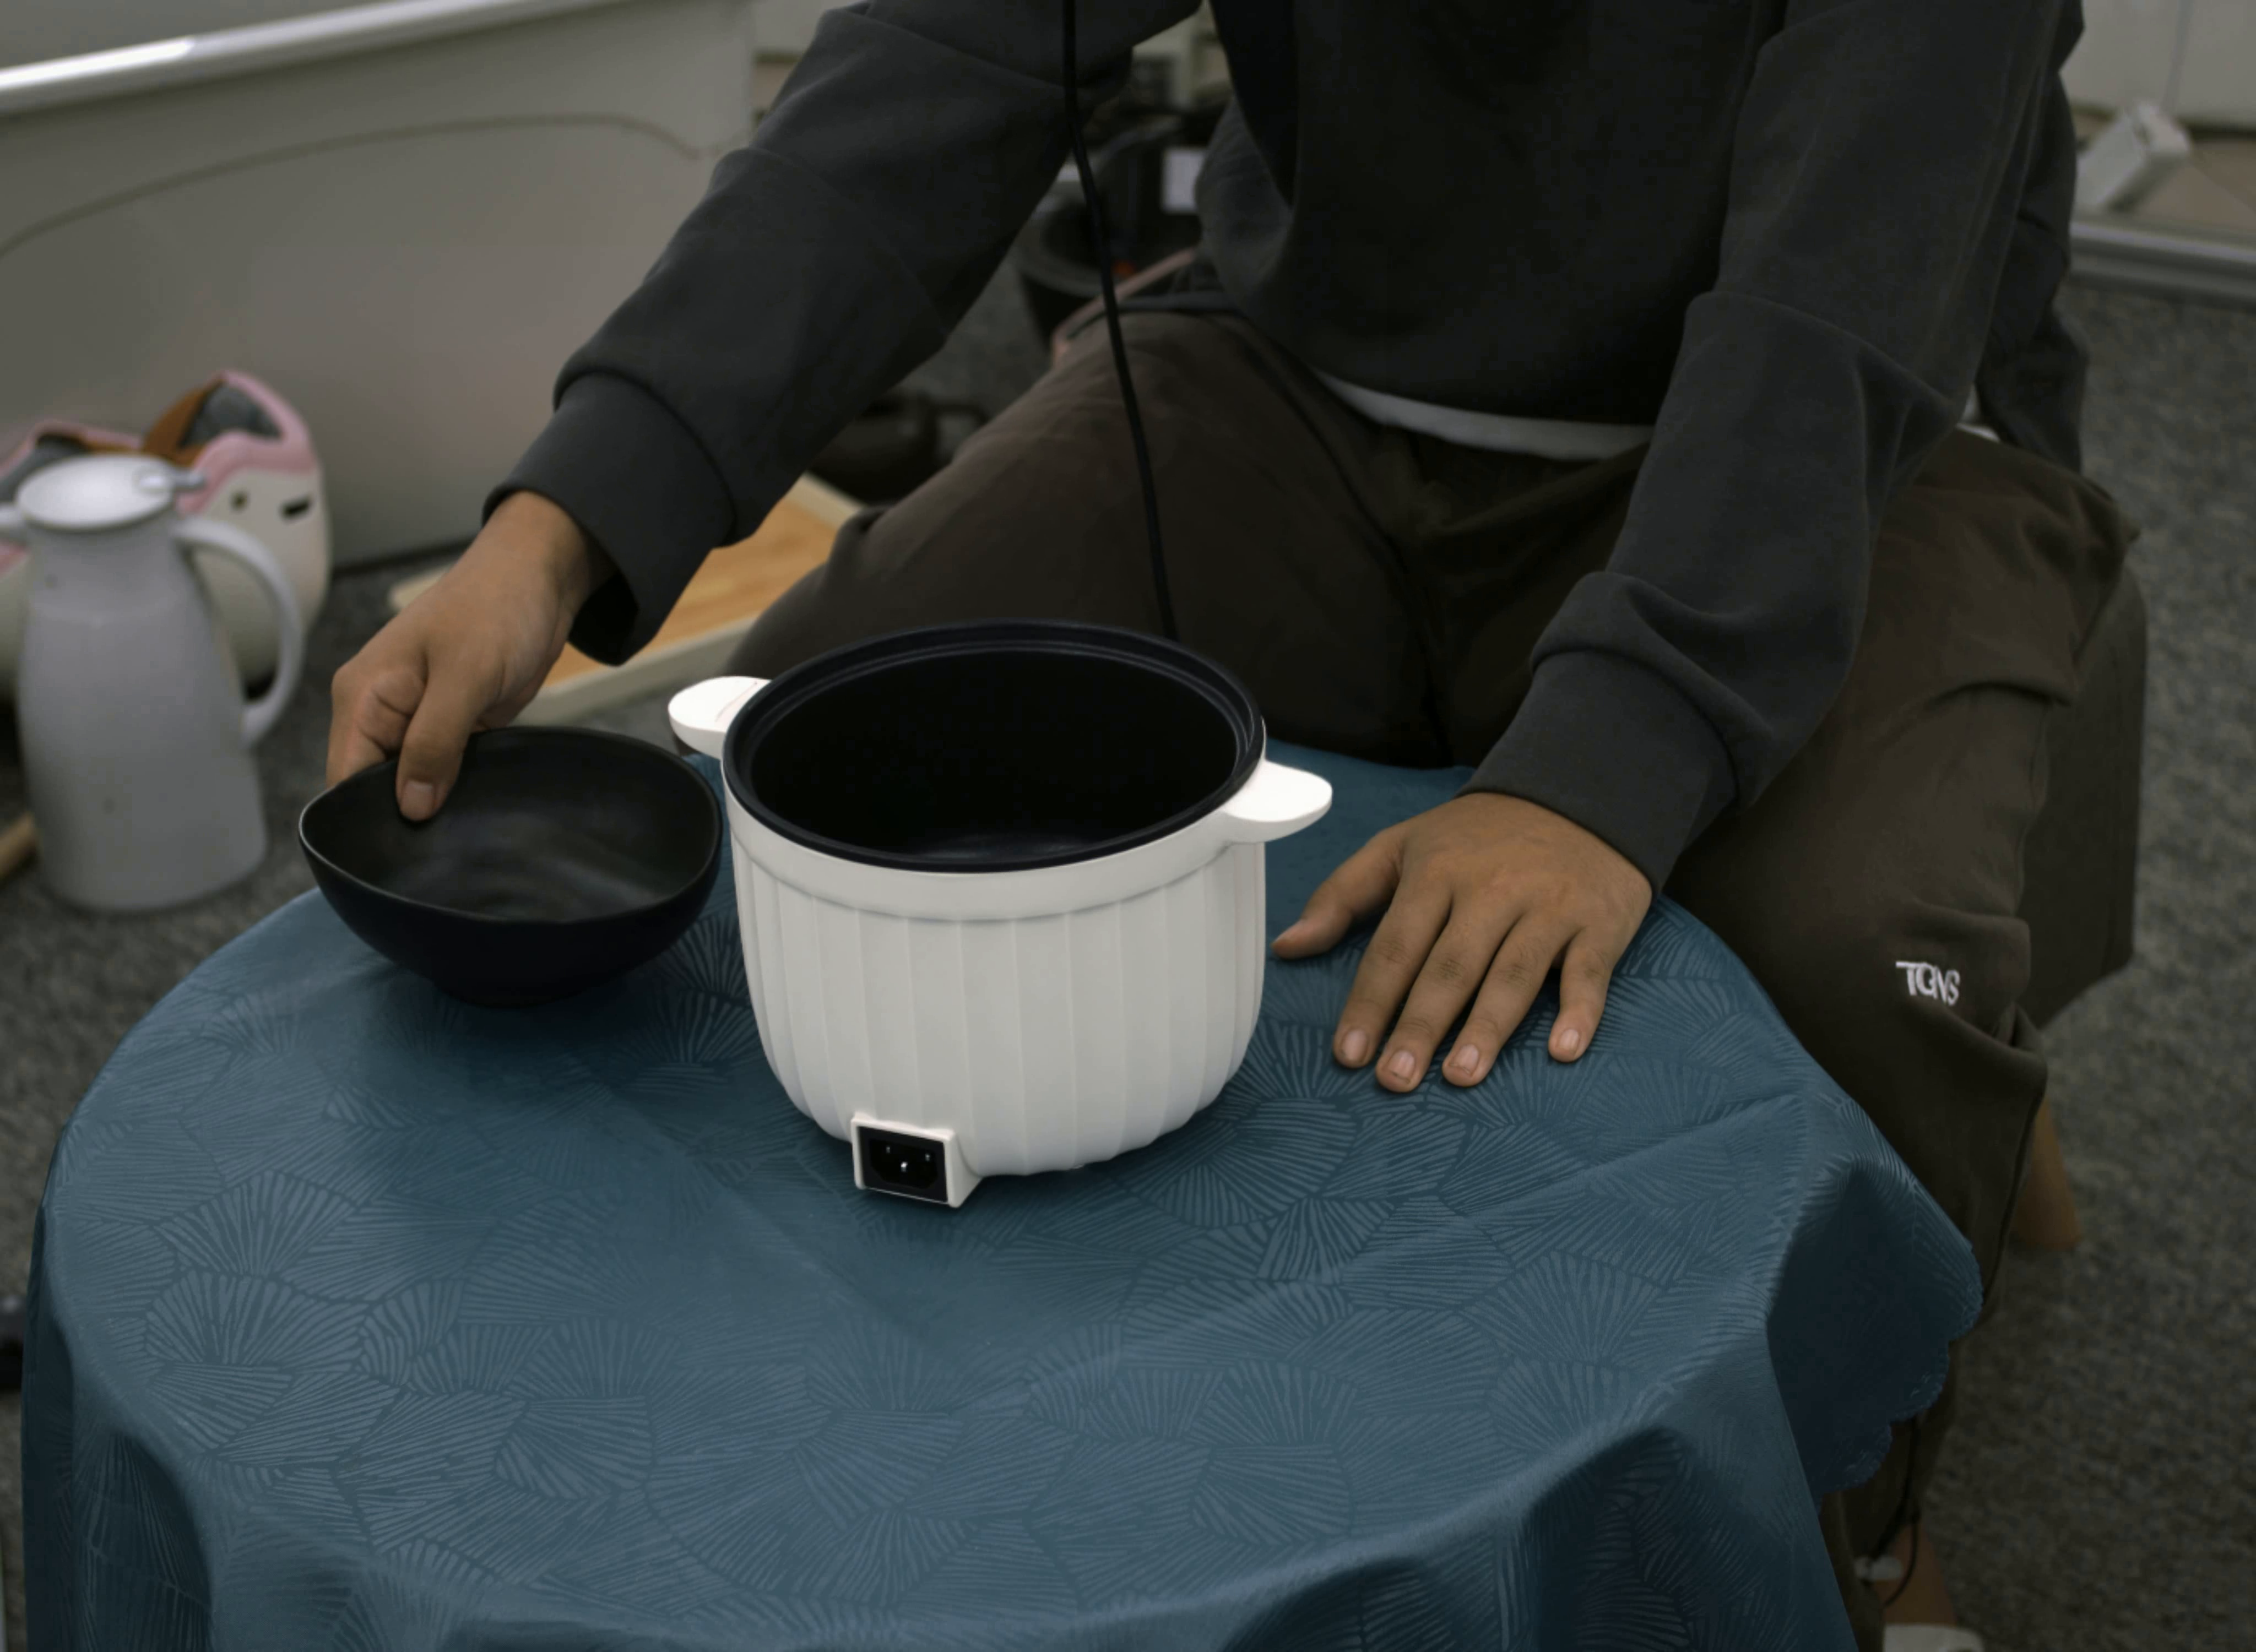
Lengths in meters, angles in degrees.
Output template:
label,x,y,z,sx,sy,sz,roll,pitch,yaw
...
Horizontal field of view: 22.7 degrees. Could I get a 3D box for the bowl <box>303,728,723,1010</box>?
label,x,y,z,sx,sy,sz,roll,pitch,yaw
bowl,-0.218,0.023,2.004,0.170,0.066,0.139,19,34,37

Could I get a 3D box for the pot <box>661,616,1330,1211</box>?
label,x,y,z,sx,sy,sz,roll,pitch,yaw
pot,-0.042,0.026,1.905,0.239,0.141,0.194,10,32,20
